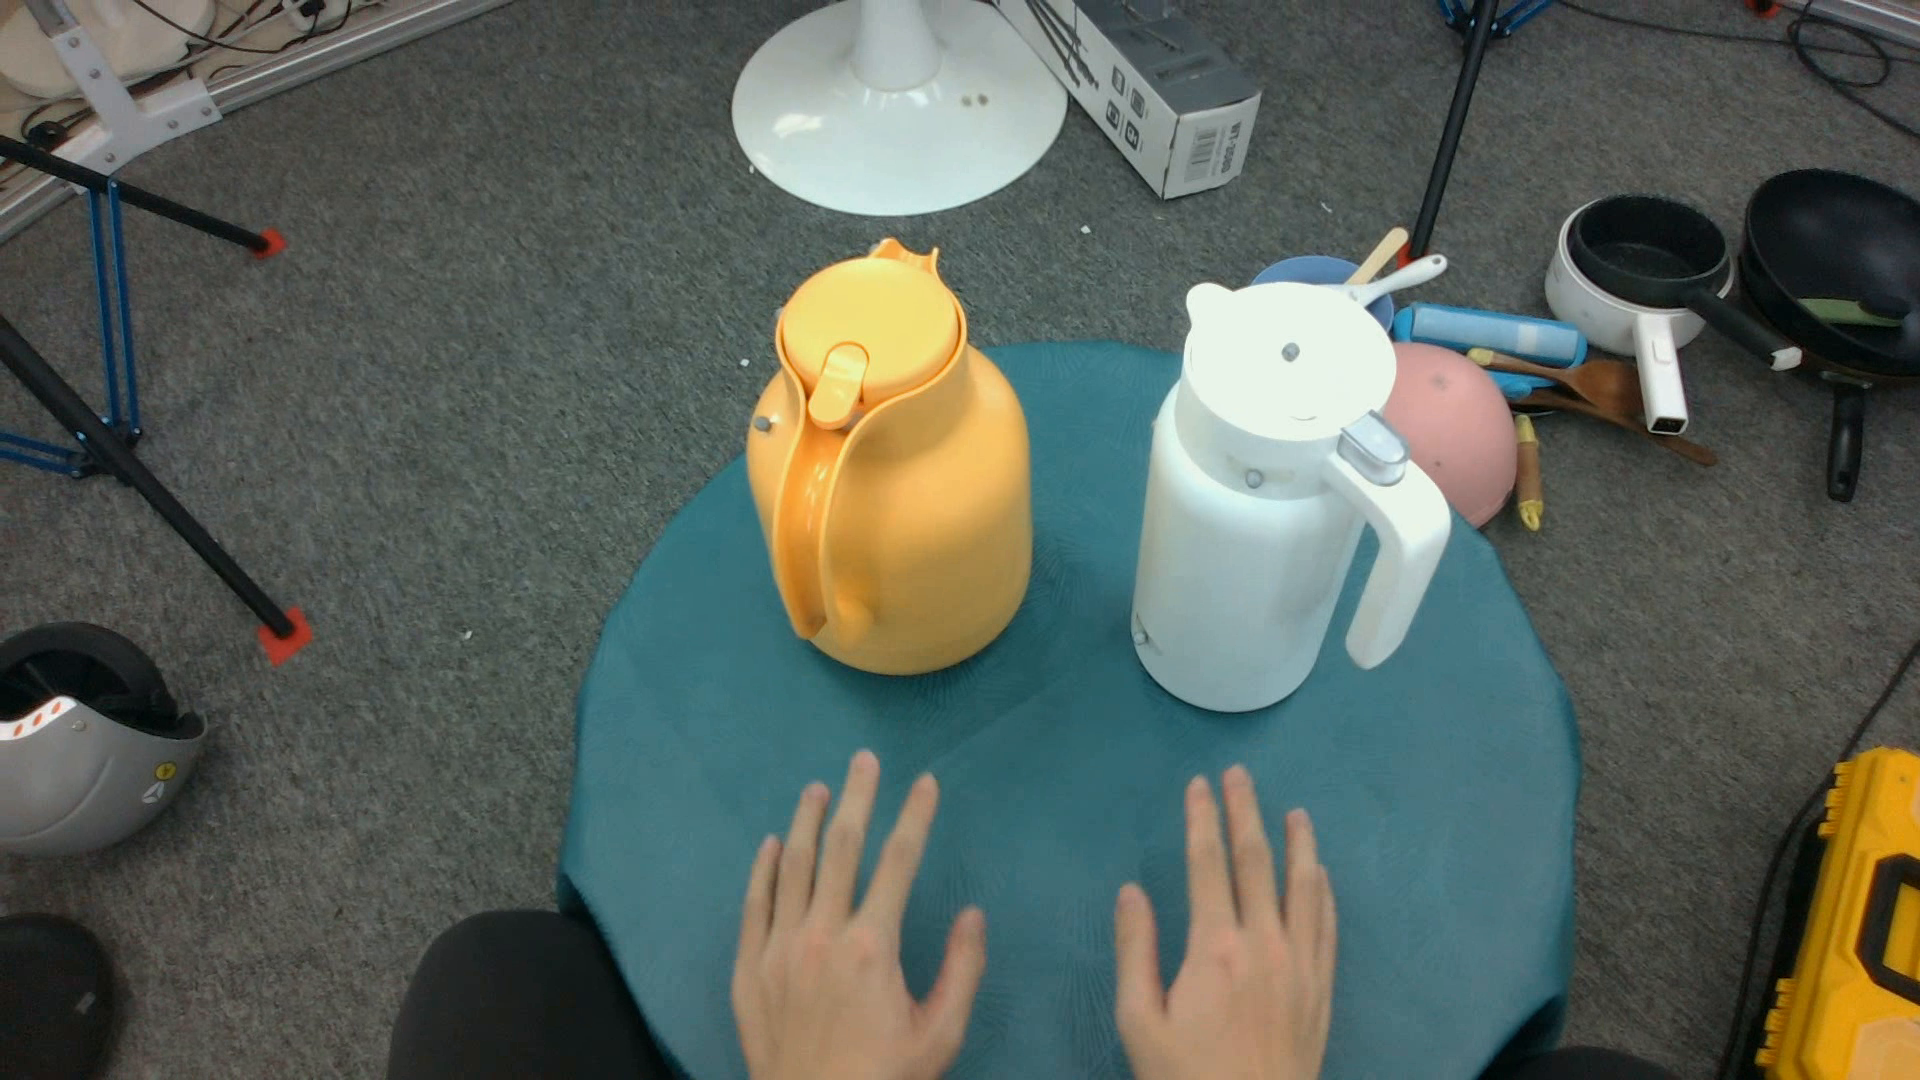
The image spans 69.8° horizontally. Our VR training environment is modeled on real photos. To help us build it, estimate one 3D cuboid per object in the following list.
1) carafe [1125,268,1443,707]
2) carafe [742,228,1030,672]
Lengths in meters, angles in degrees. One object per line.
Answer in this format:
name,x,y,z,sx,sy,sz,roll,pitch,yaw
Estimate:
carafe,0.168,-0.006,0.751,0.124,0.267,0.173,-30,60,-19
carafe,-0.050,-0.032,0.778,0.163,0.259,0.203,14,56,15
